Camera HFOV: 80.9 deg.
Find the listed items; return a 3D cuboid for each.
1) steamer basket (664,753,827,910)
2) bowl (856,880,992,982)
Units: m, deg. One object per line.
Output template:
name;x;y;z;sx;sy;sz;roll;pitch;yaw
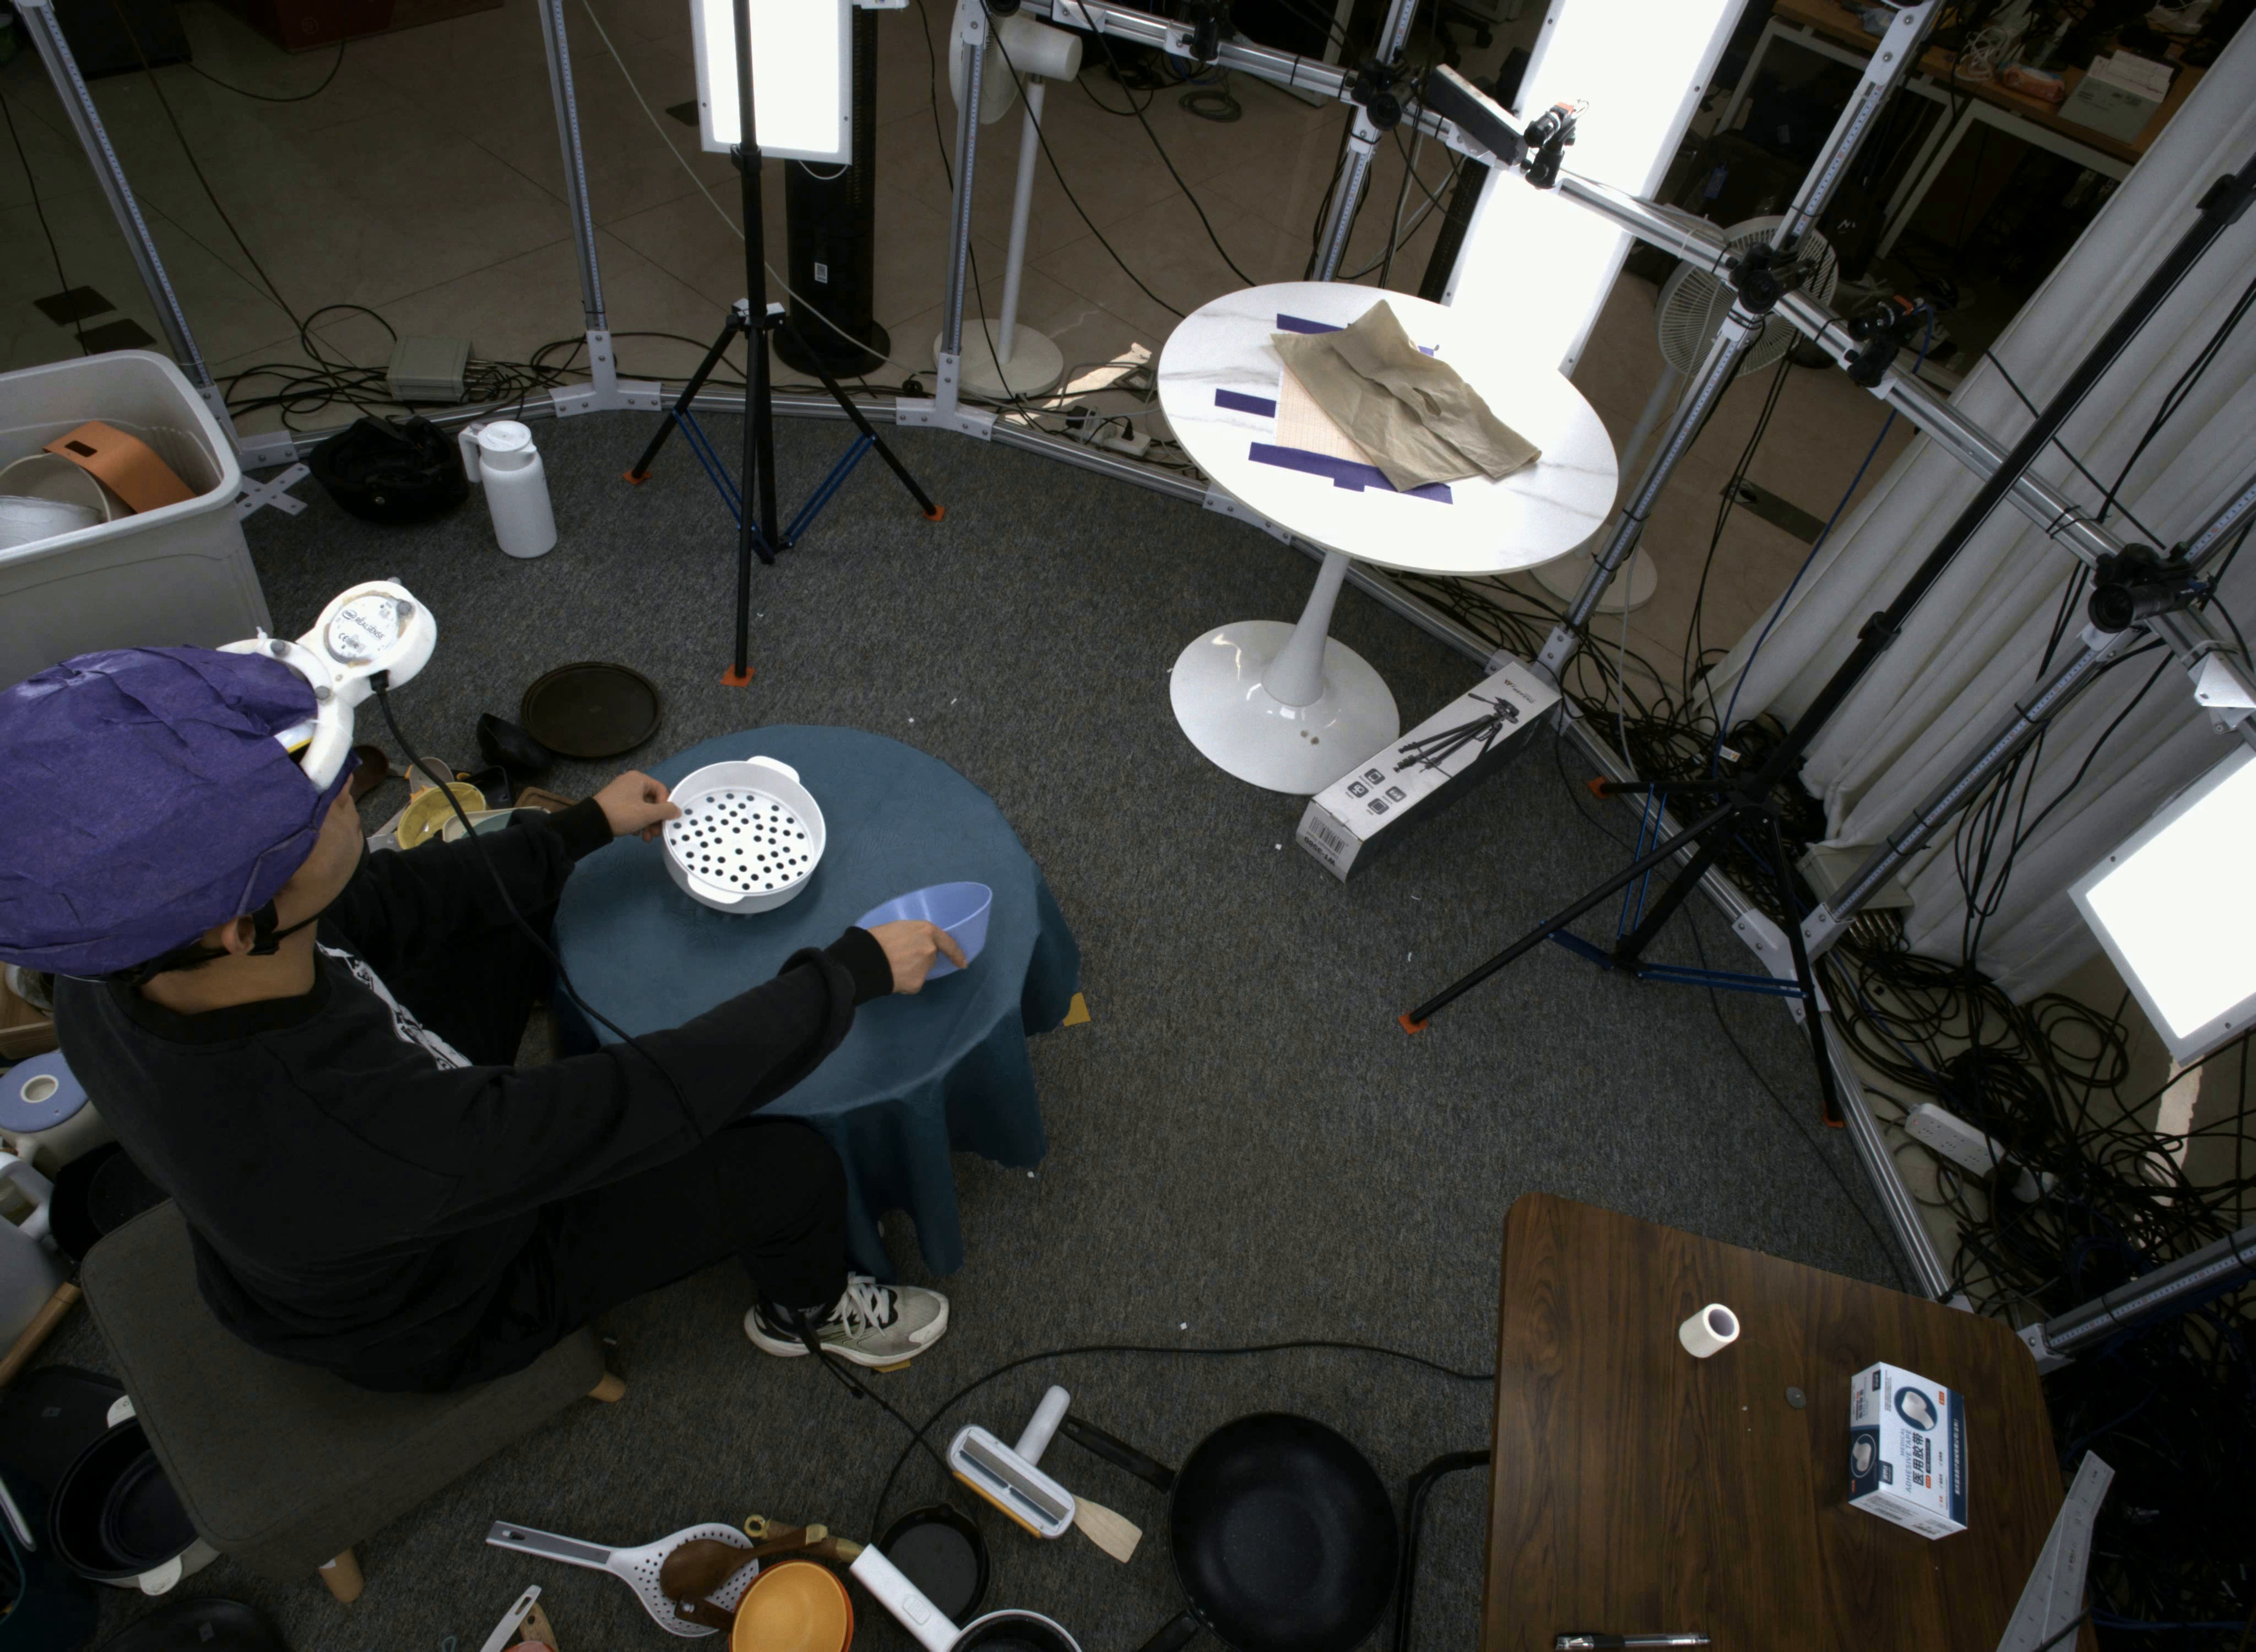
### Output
steamer basket;-0.489;0.011;1.643;0.203;0.070;0.227;23;48;-12
bowl;-0.239;0.132;1.593;0.173;0.072;0.173;-15;17;6
